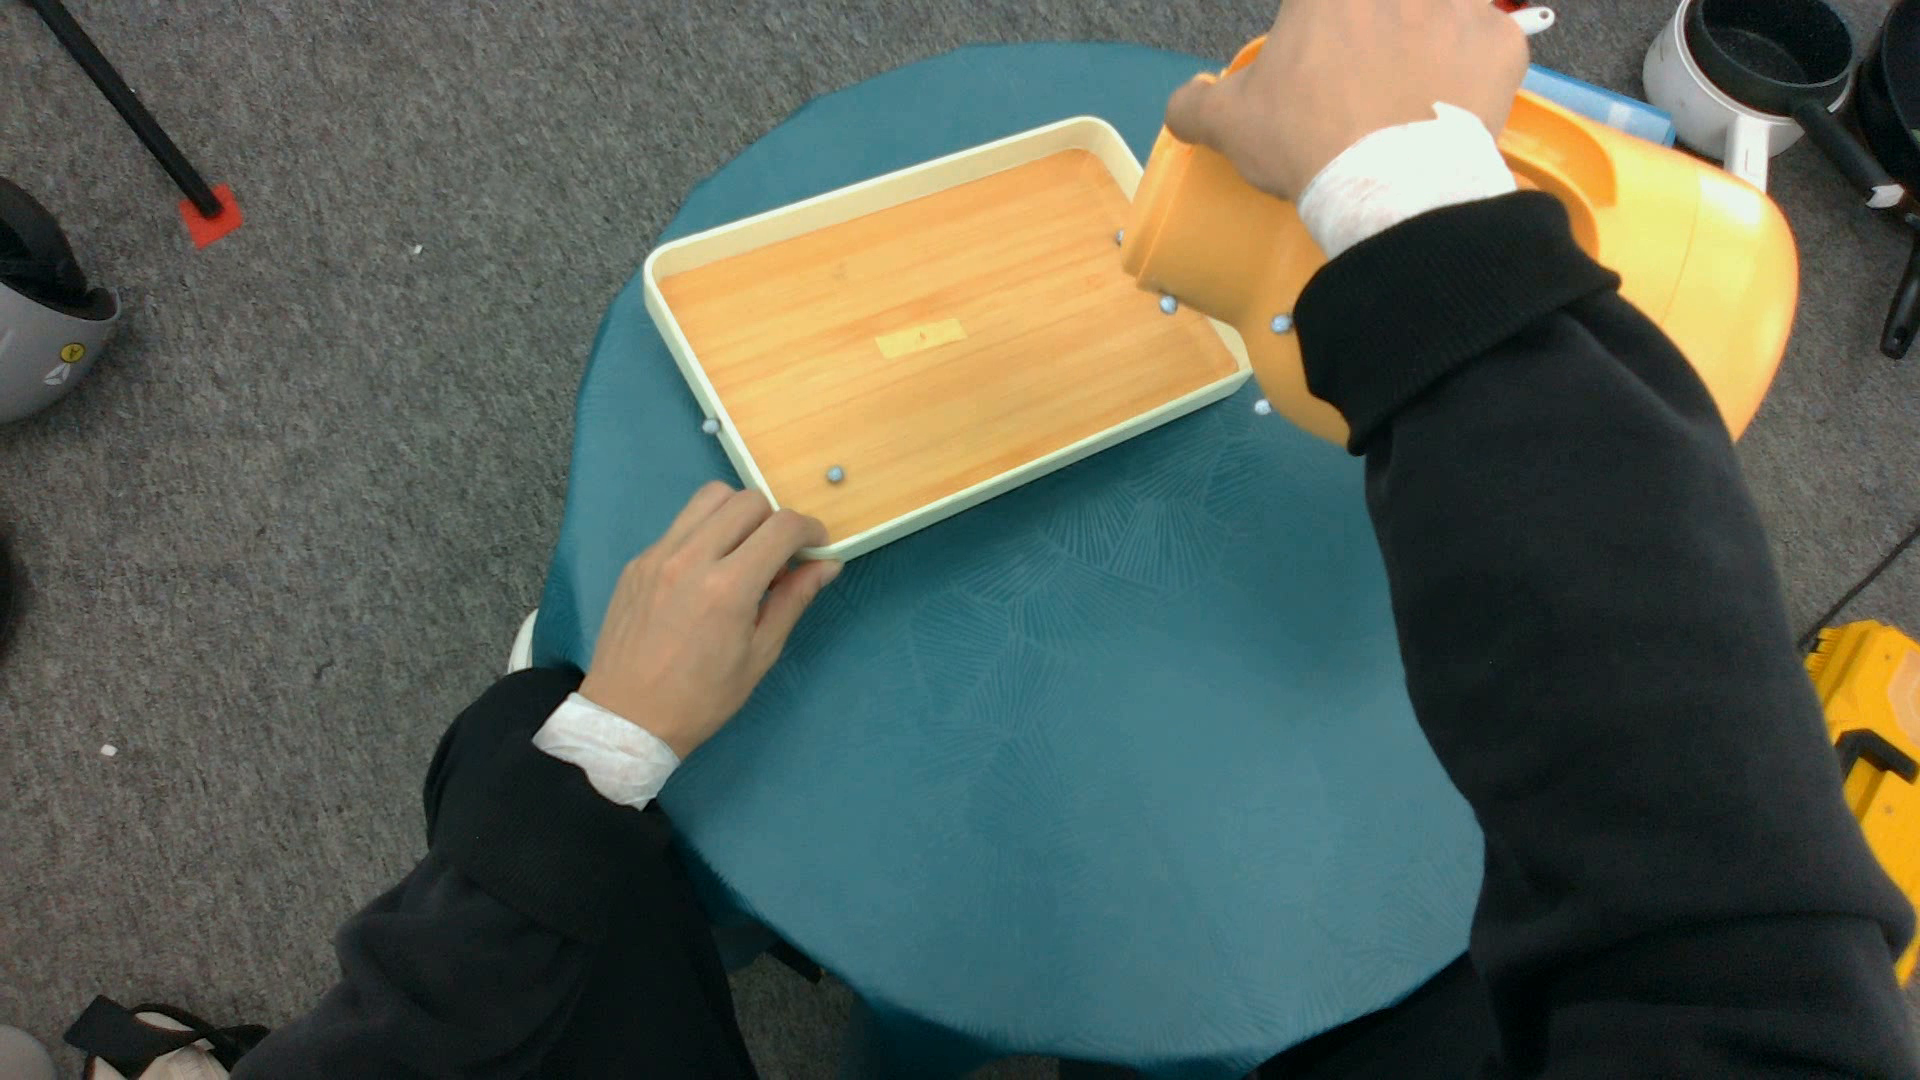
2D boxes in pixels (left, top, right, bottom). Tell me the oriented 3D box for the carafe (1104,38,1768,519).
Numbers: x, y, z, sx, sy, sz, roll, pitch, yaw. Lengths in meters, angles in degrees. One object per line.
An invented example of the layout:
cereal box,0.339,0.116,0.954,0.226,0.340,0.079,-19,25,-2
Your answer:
carafe,0.195,-0.122,0.586,0.260,0.202,0.163,20,81,3

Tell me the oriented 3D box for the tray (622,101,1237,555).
tray,-0.009,-0.126,0.745,0.301,0.027,0.192,-24,73,-24
